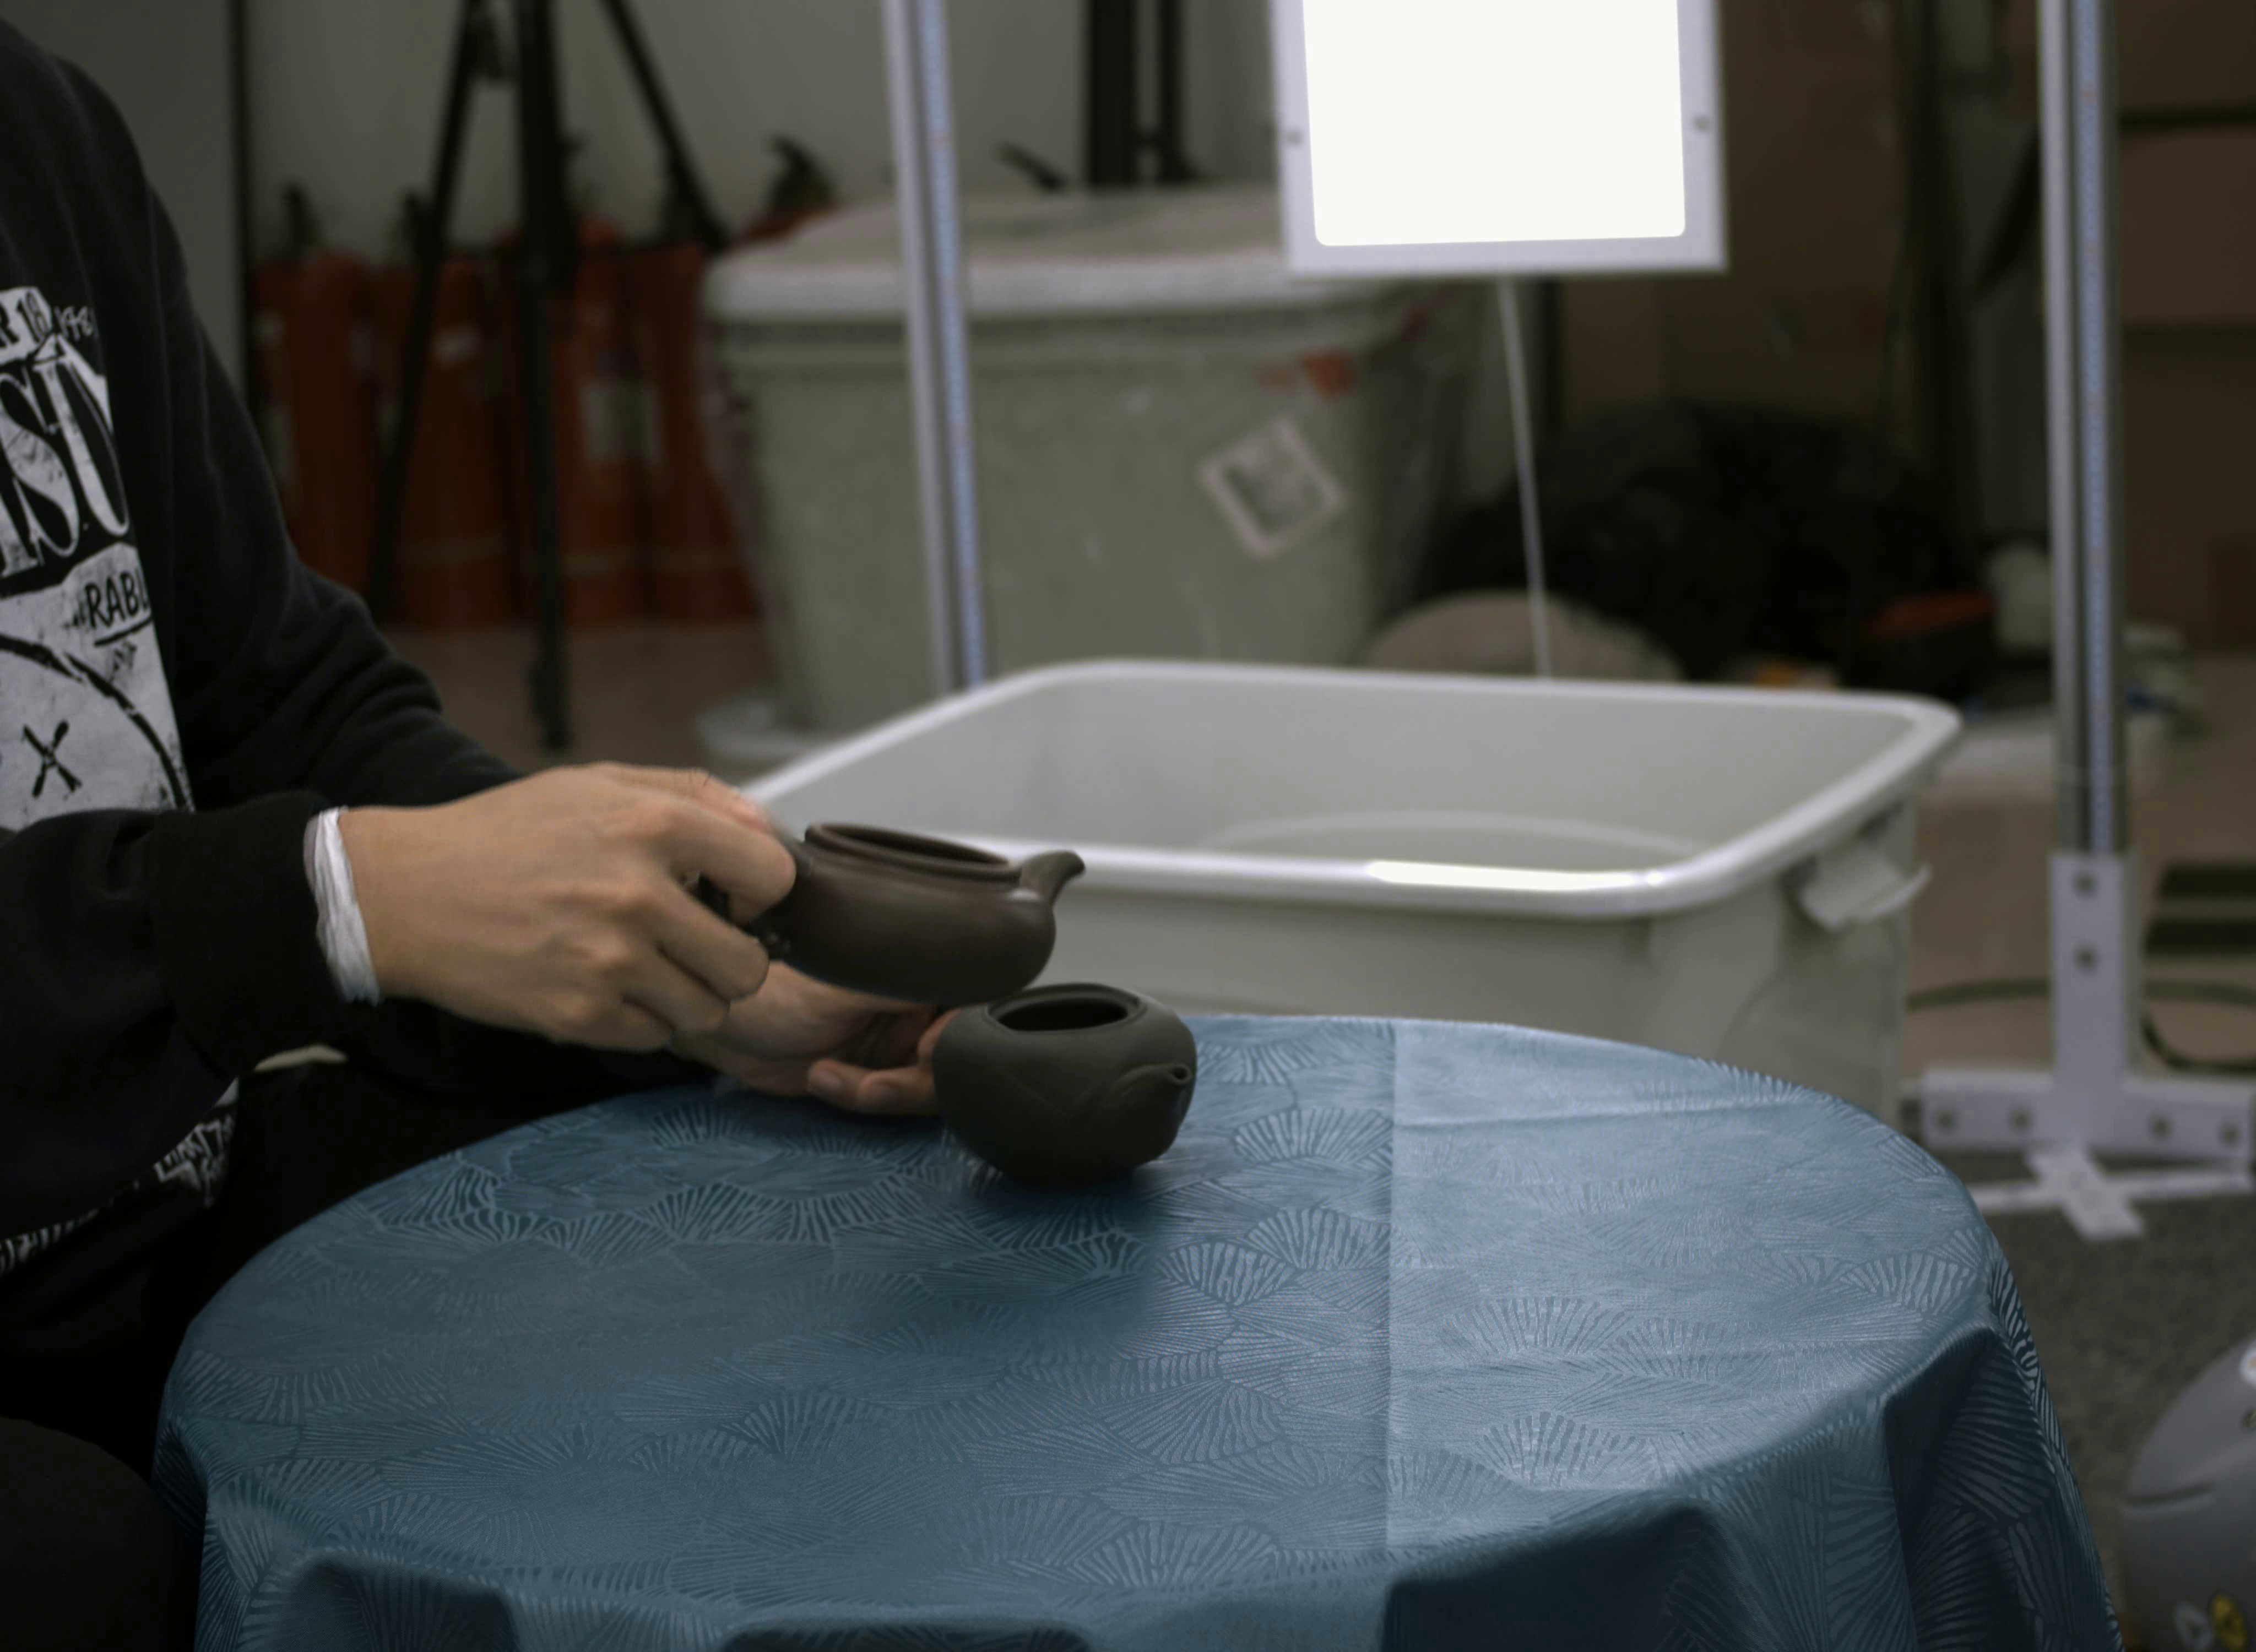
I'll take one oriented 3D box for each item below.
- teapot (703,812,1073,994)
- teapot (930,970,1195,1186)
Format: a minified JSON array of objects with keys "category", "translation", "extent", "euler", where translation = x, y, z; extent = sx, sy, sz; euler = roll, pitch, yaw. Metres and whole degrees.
[{"category":"teapot","translation":[-0.078,0.023,1.798],"extent":[0.105,0.054,0.150],"euler":[12,3,44]},{"category":"teapot","translation":[-0.024,0.088,1.925],"extent":[0.090,0.065,0.157],"euler":[-9,17,-31]}]
